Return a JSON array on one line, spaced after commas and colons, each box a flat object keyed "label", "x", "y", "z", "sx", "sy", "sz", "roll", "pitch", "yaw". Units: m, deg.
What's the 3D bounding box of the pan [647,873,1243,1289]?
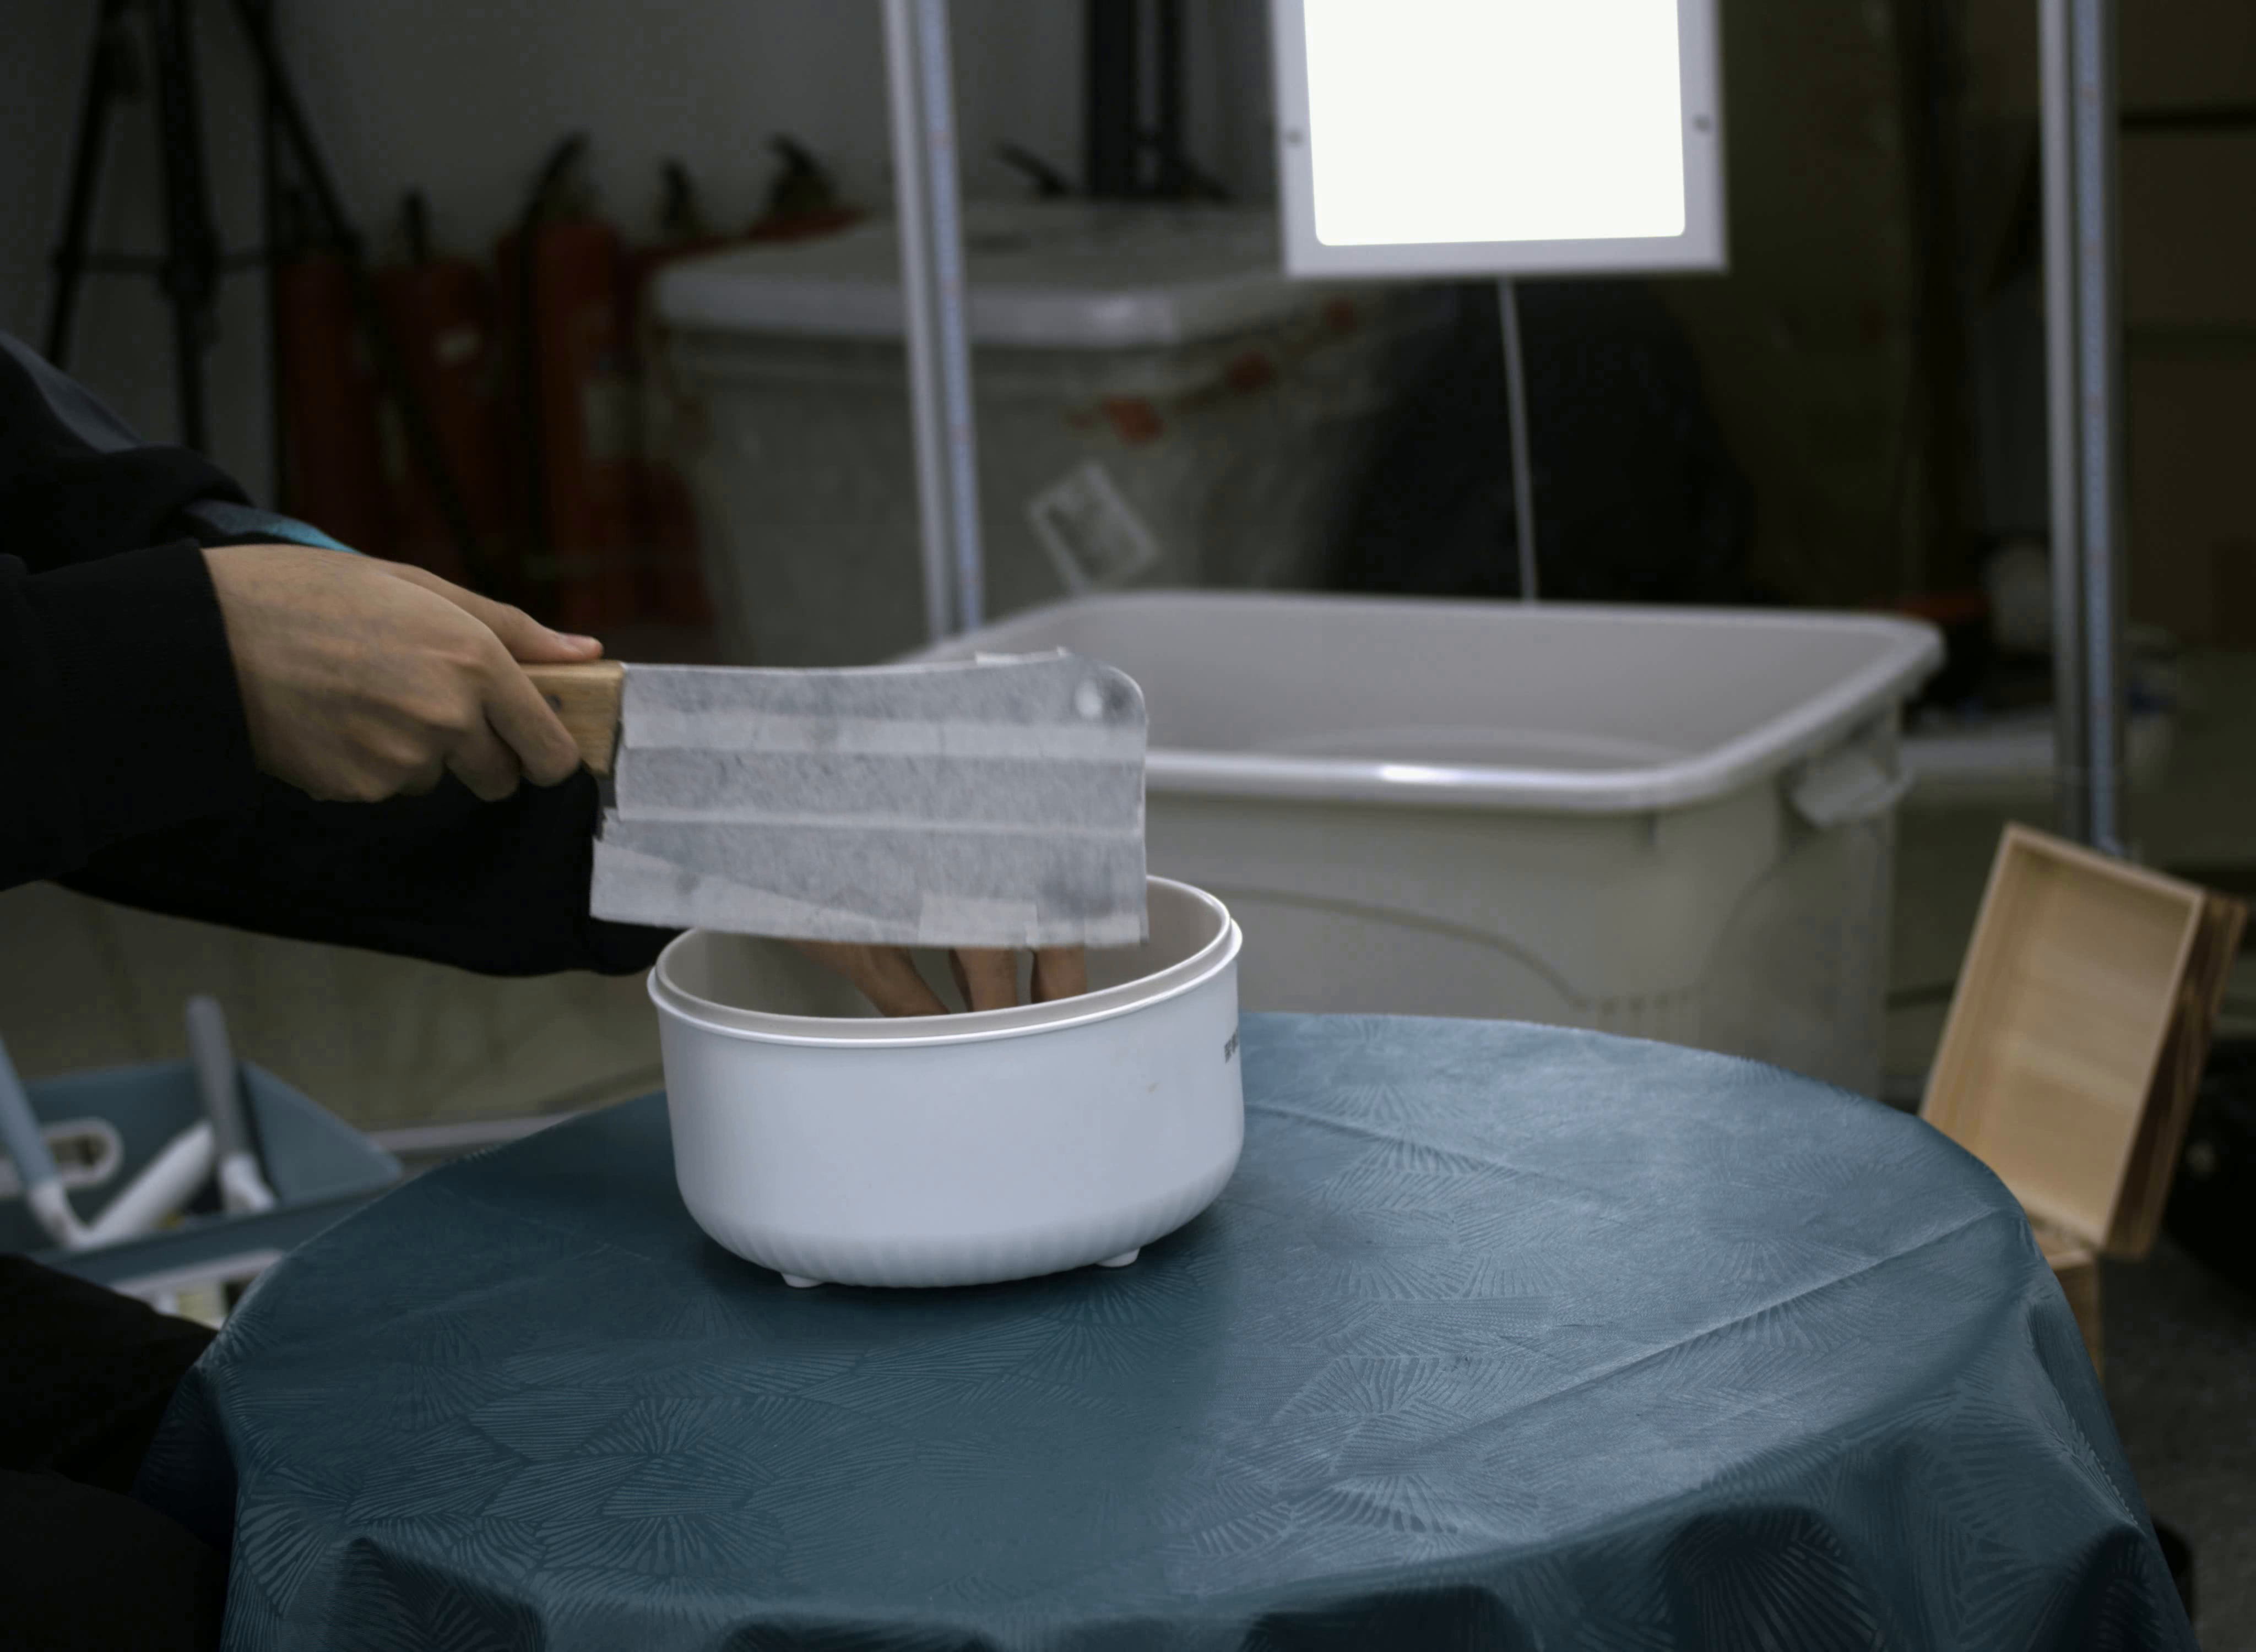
[{"label": "pan", "x": -0.058, "y": 0.070, "z": 1.940, "sx": 0.201, "sy": 0.102, "sz": 0.353, "roll": -5, "pitch": 13, "yaw": 2}]

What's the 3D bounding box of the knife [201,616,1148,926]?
[{"label": "knife", "x": -0.145, "y": -0.023, "z": 1.804, "sx": 0.313, "sy": 0.114, "sz": 0.022, "roll": 5, "pitch": 11, "yaw": -5}]
